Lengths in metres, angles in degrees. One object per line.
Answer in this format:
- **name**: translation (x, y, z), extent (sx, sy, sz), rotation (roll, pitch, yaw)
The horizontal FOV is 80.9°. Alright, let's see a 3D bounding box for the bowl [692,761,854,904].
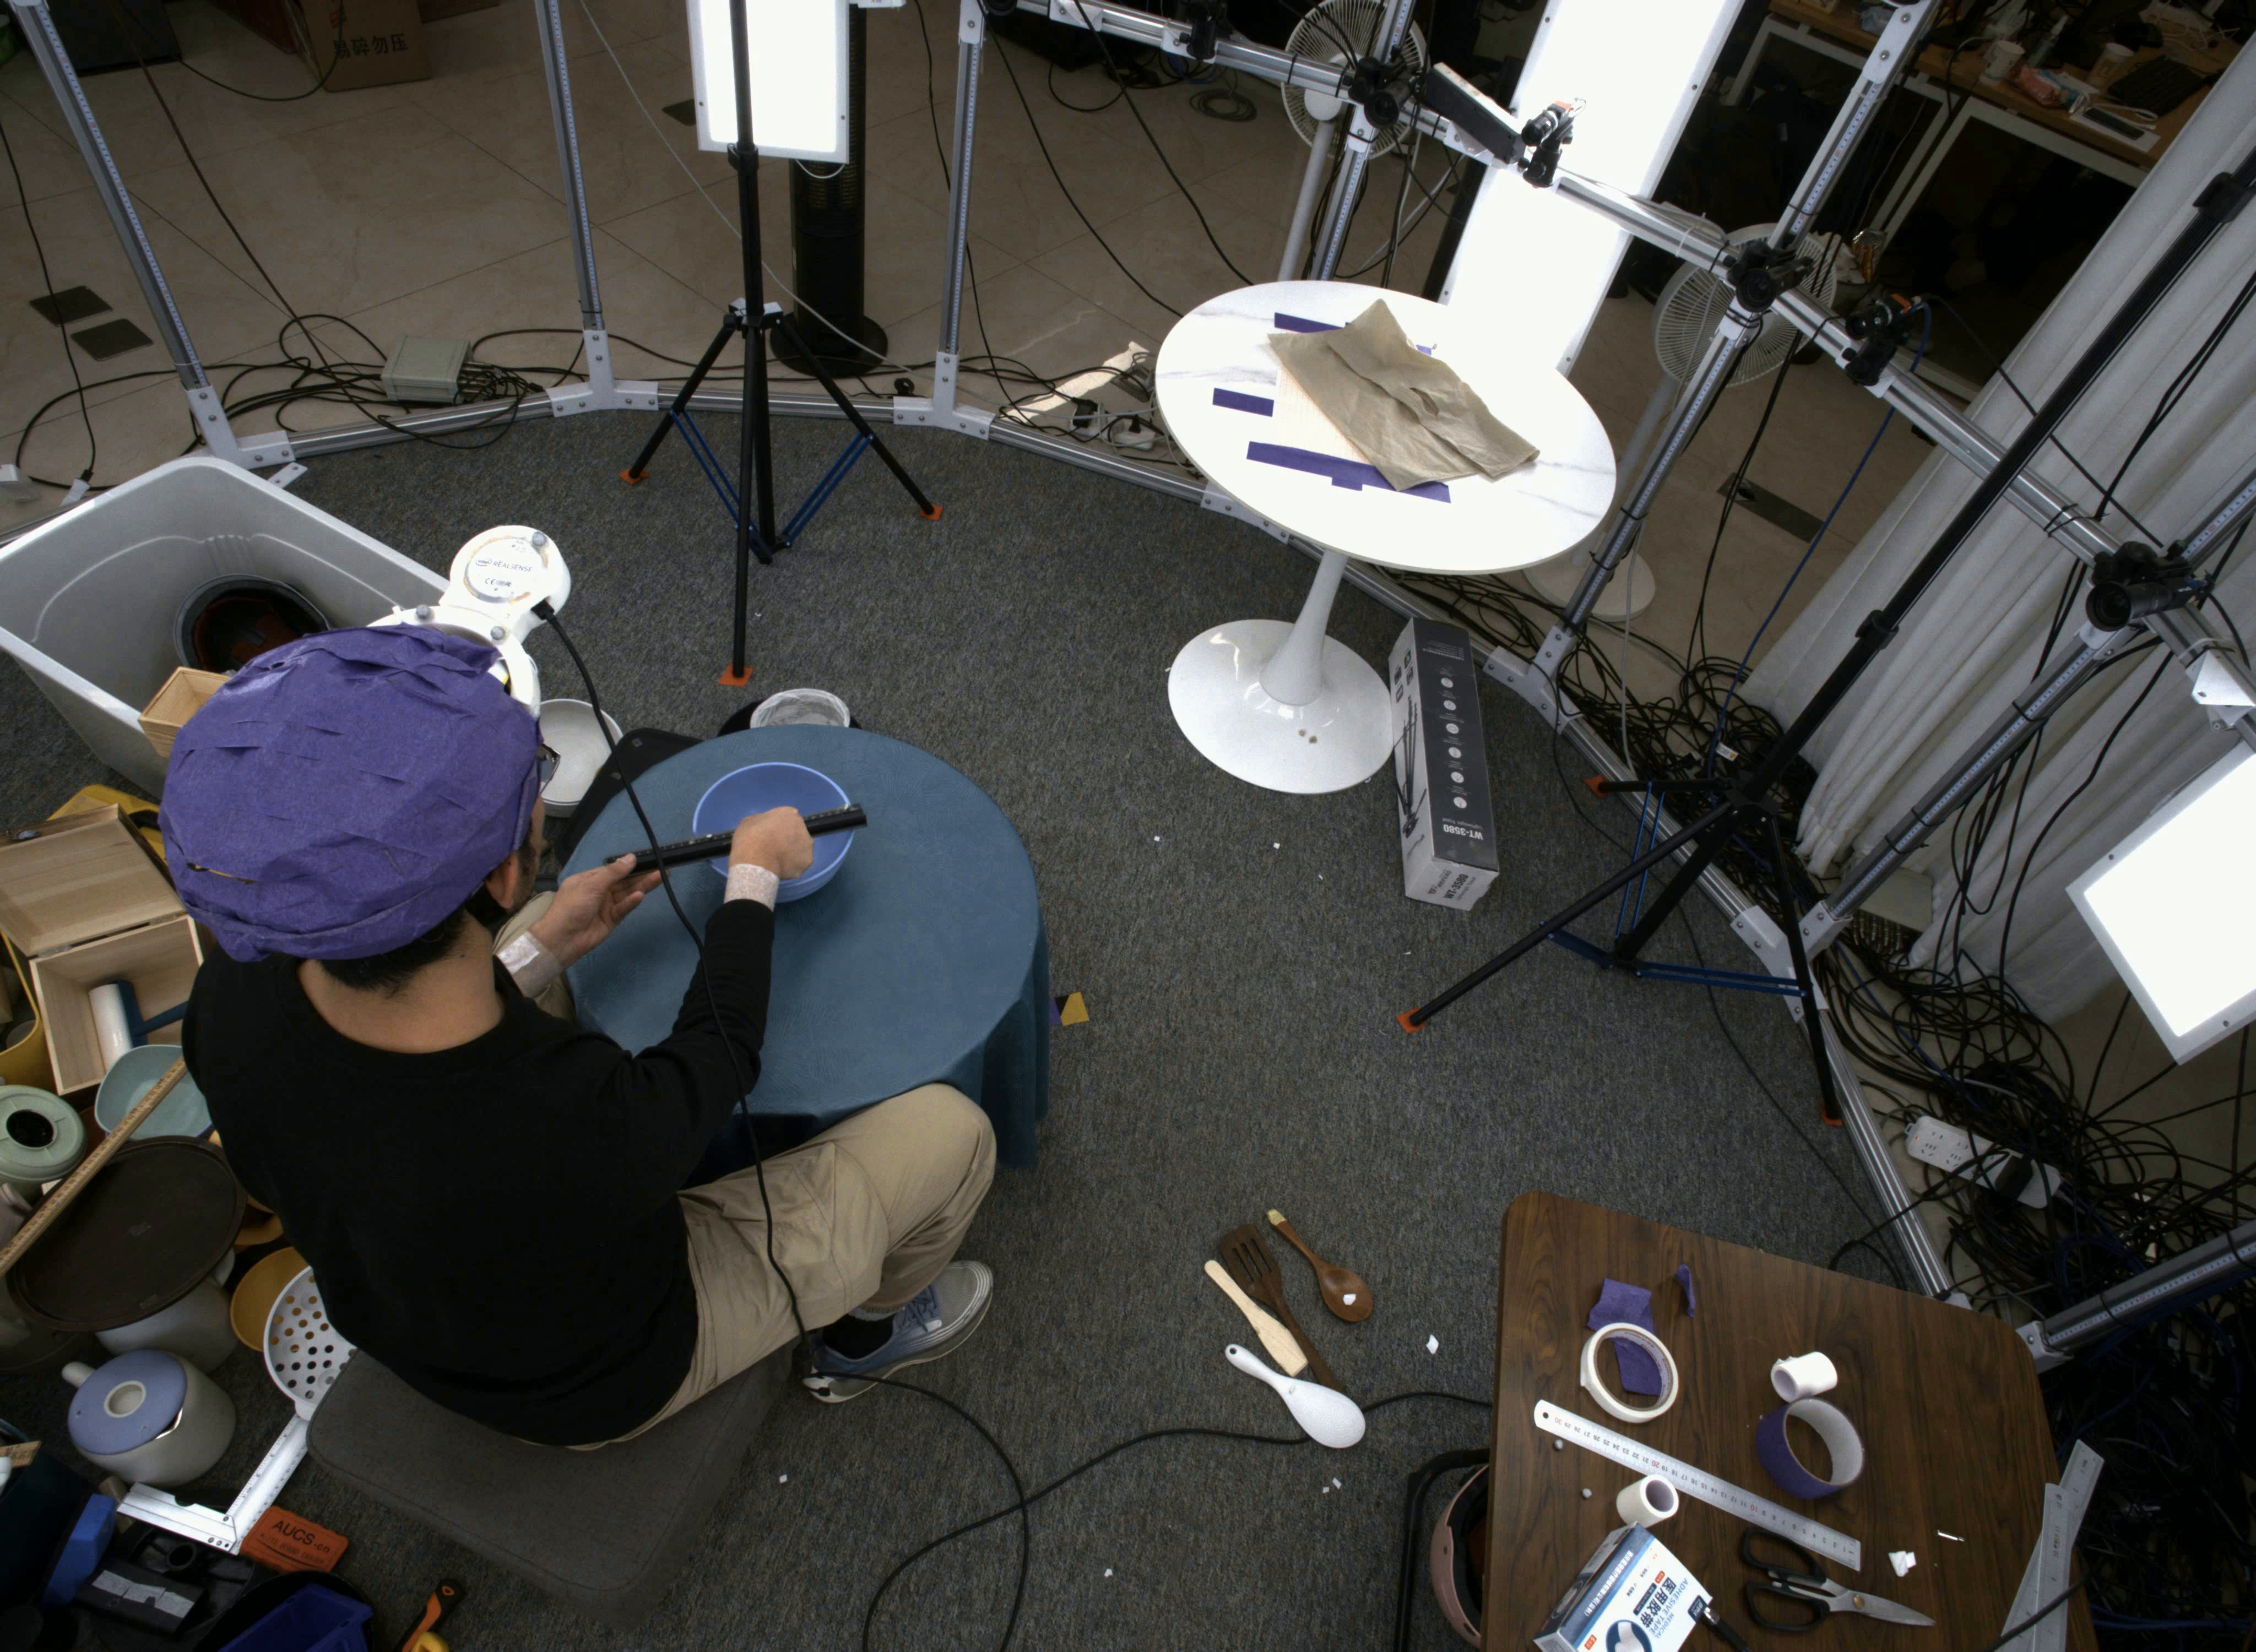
- **bowl**: translation (-0.445, 0.022, 1.635), extent (0.196, 0.097, 0.193), rotation (8, 51, -8)

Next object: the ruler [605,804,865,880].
- **ruler**: translation (-0.474, 0.011, 1.559), extent (0.314, 0.017, 0.038), rotation (-13, 52, -22)
